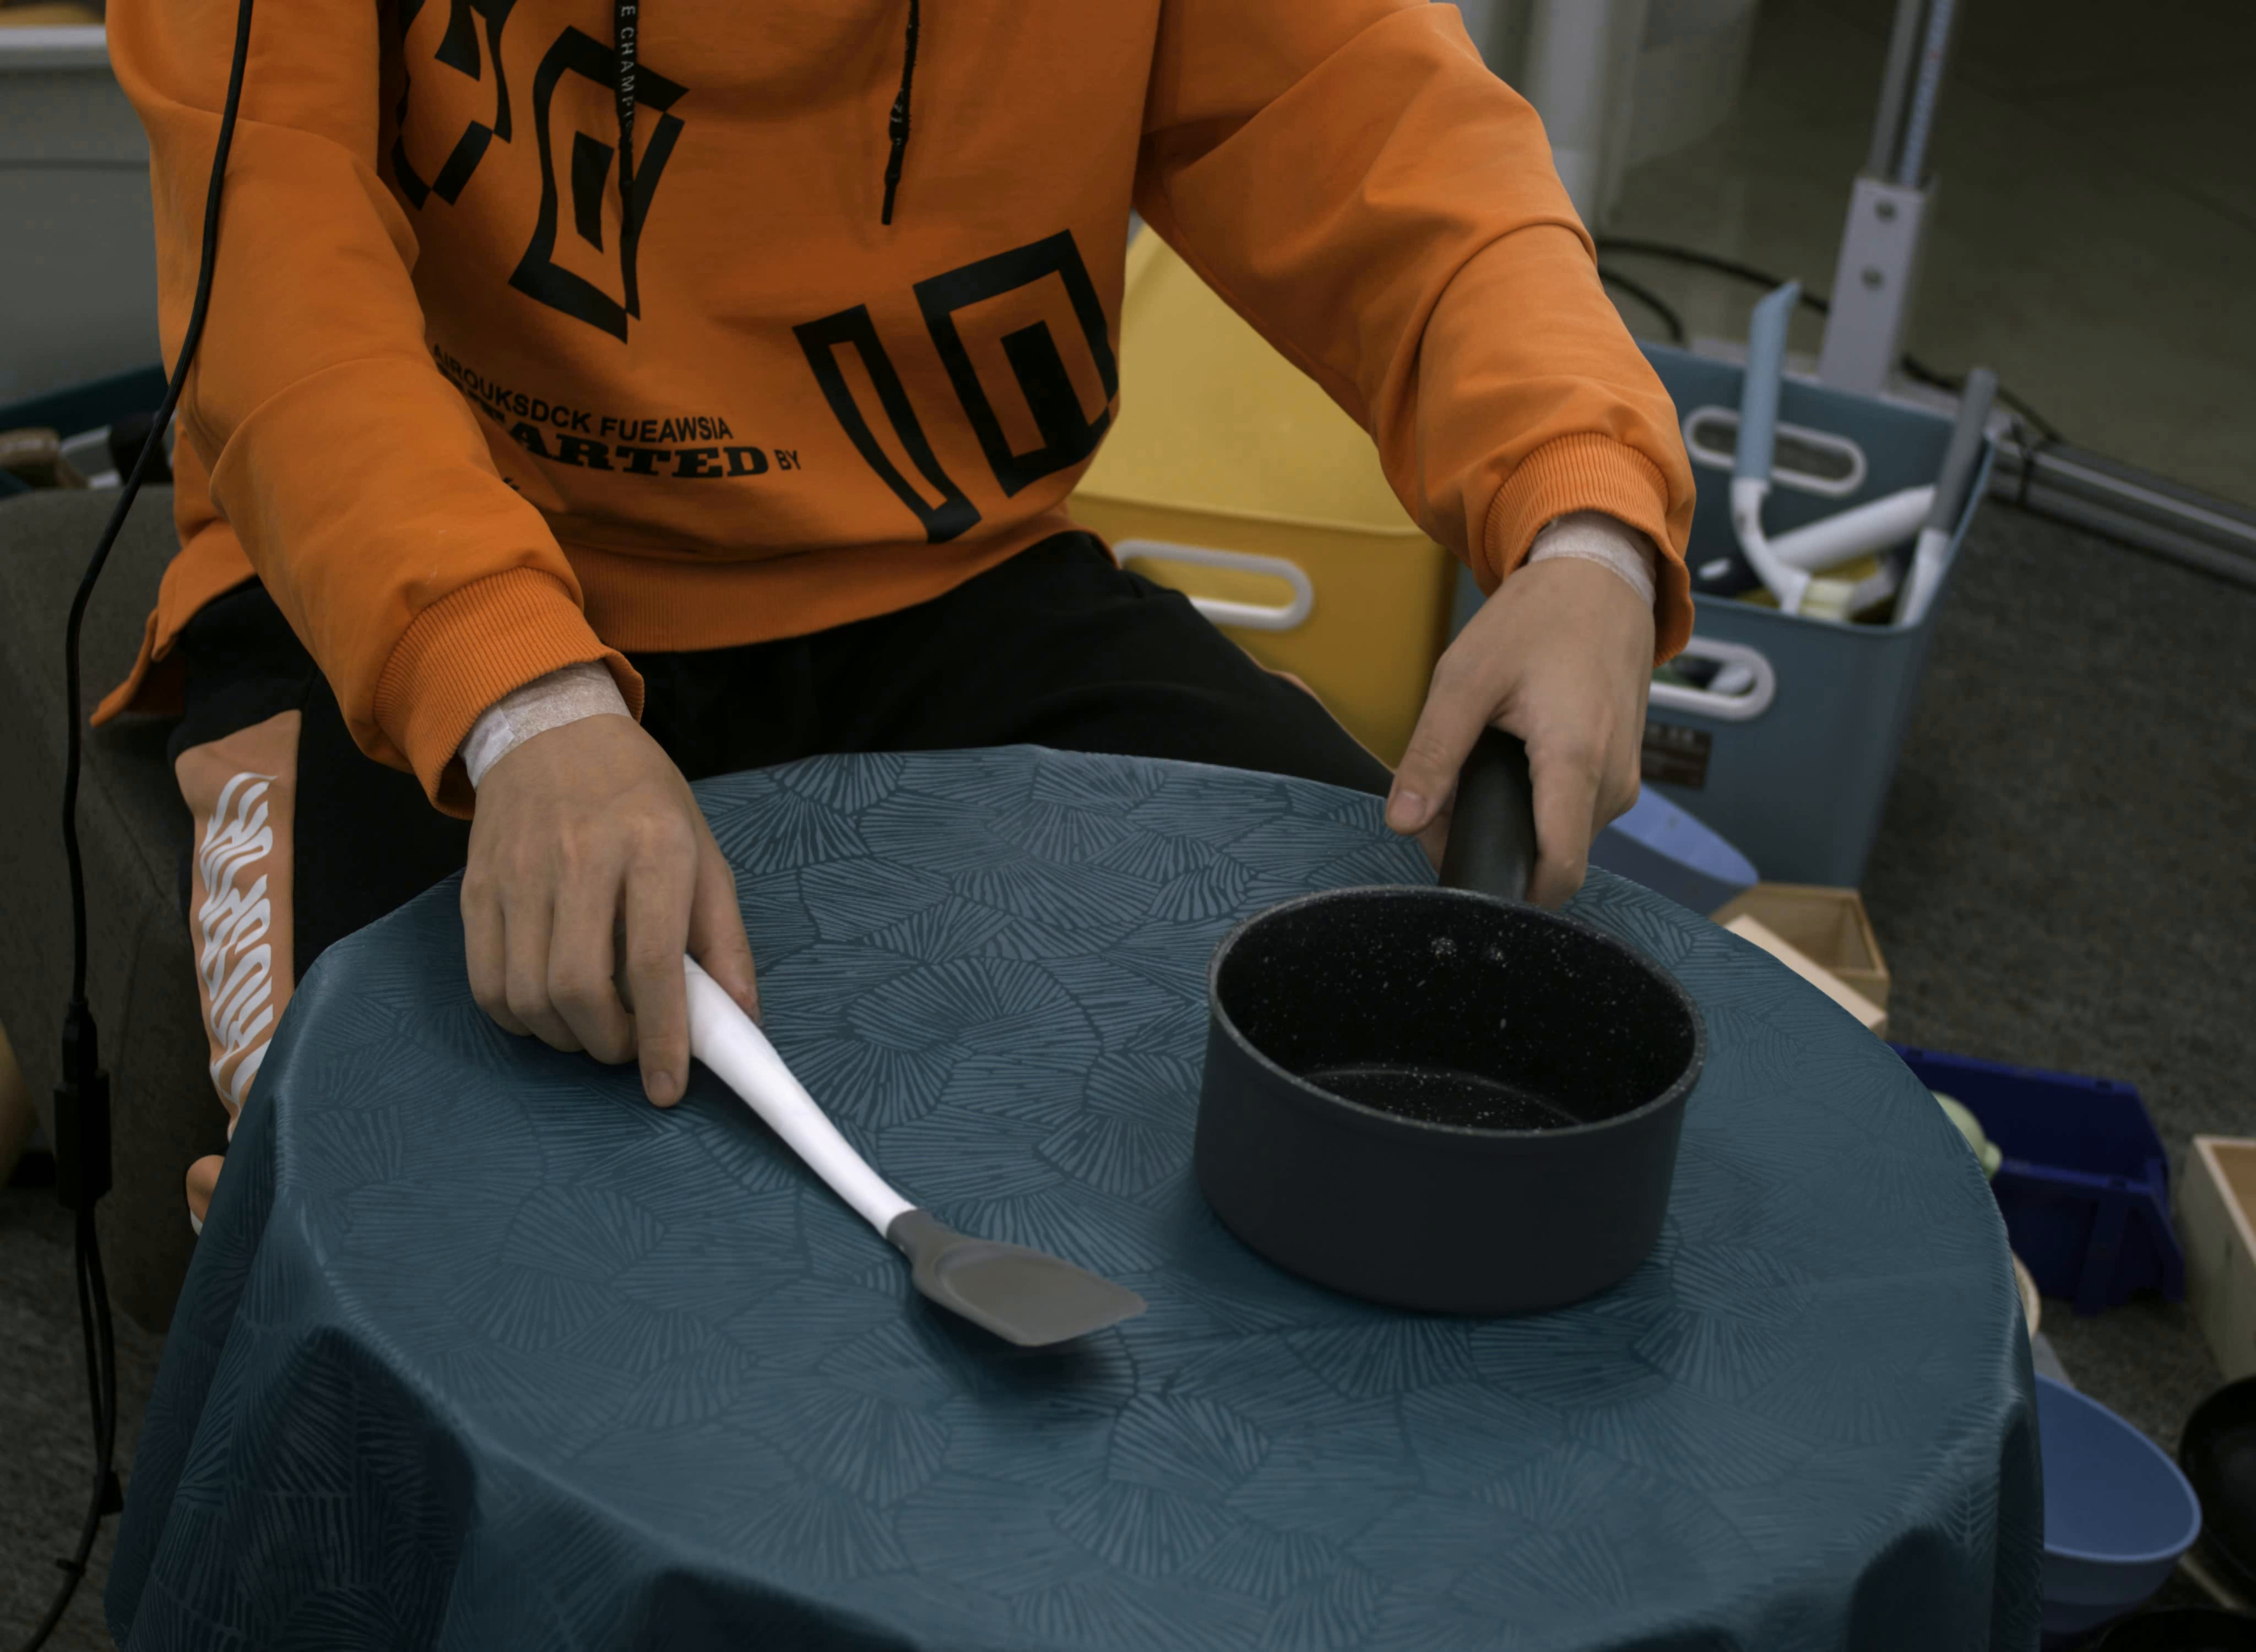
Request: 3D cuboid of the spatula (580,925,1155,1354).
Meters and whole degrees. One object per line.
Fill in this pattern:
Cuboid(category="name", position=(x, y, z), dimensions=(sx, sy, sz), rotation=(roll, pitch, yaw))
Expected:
Cuboid(category="spatula", position=(-0.095, 0.108, 1.777), dimensions=(0.058, 0.032, 0.290), rotation=(-9, 30, -37))

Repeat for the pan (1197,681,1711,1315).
Cuboid(category="pan", position=(0.122, 0.055, 1.871), dimensions=(0.172, 0.086, 0.330), rotation=(11, 29, 7))
